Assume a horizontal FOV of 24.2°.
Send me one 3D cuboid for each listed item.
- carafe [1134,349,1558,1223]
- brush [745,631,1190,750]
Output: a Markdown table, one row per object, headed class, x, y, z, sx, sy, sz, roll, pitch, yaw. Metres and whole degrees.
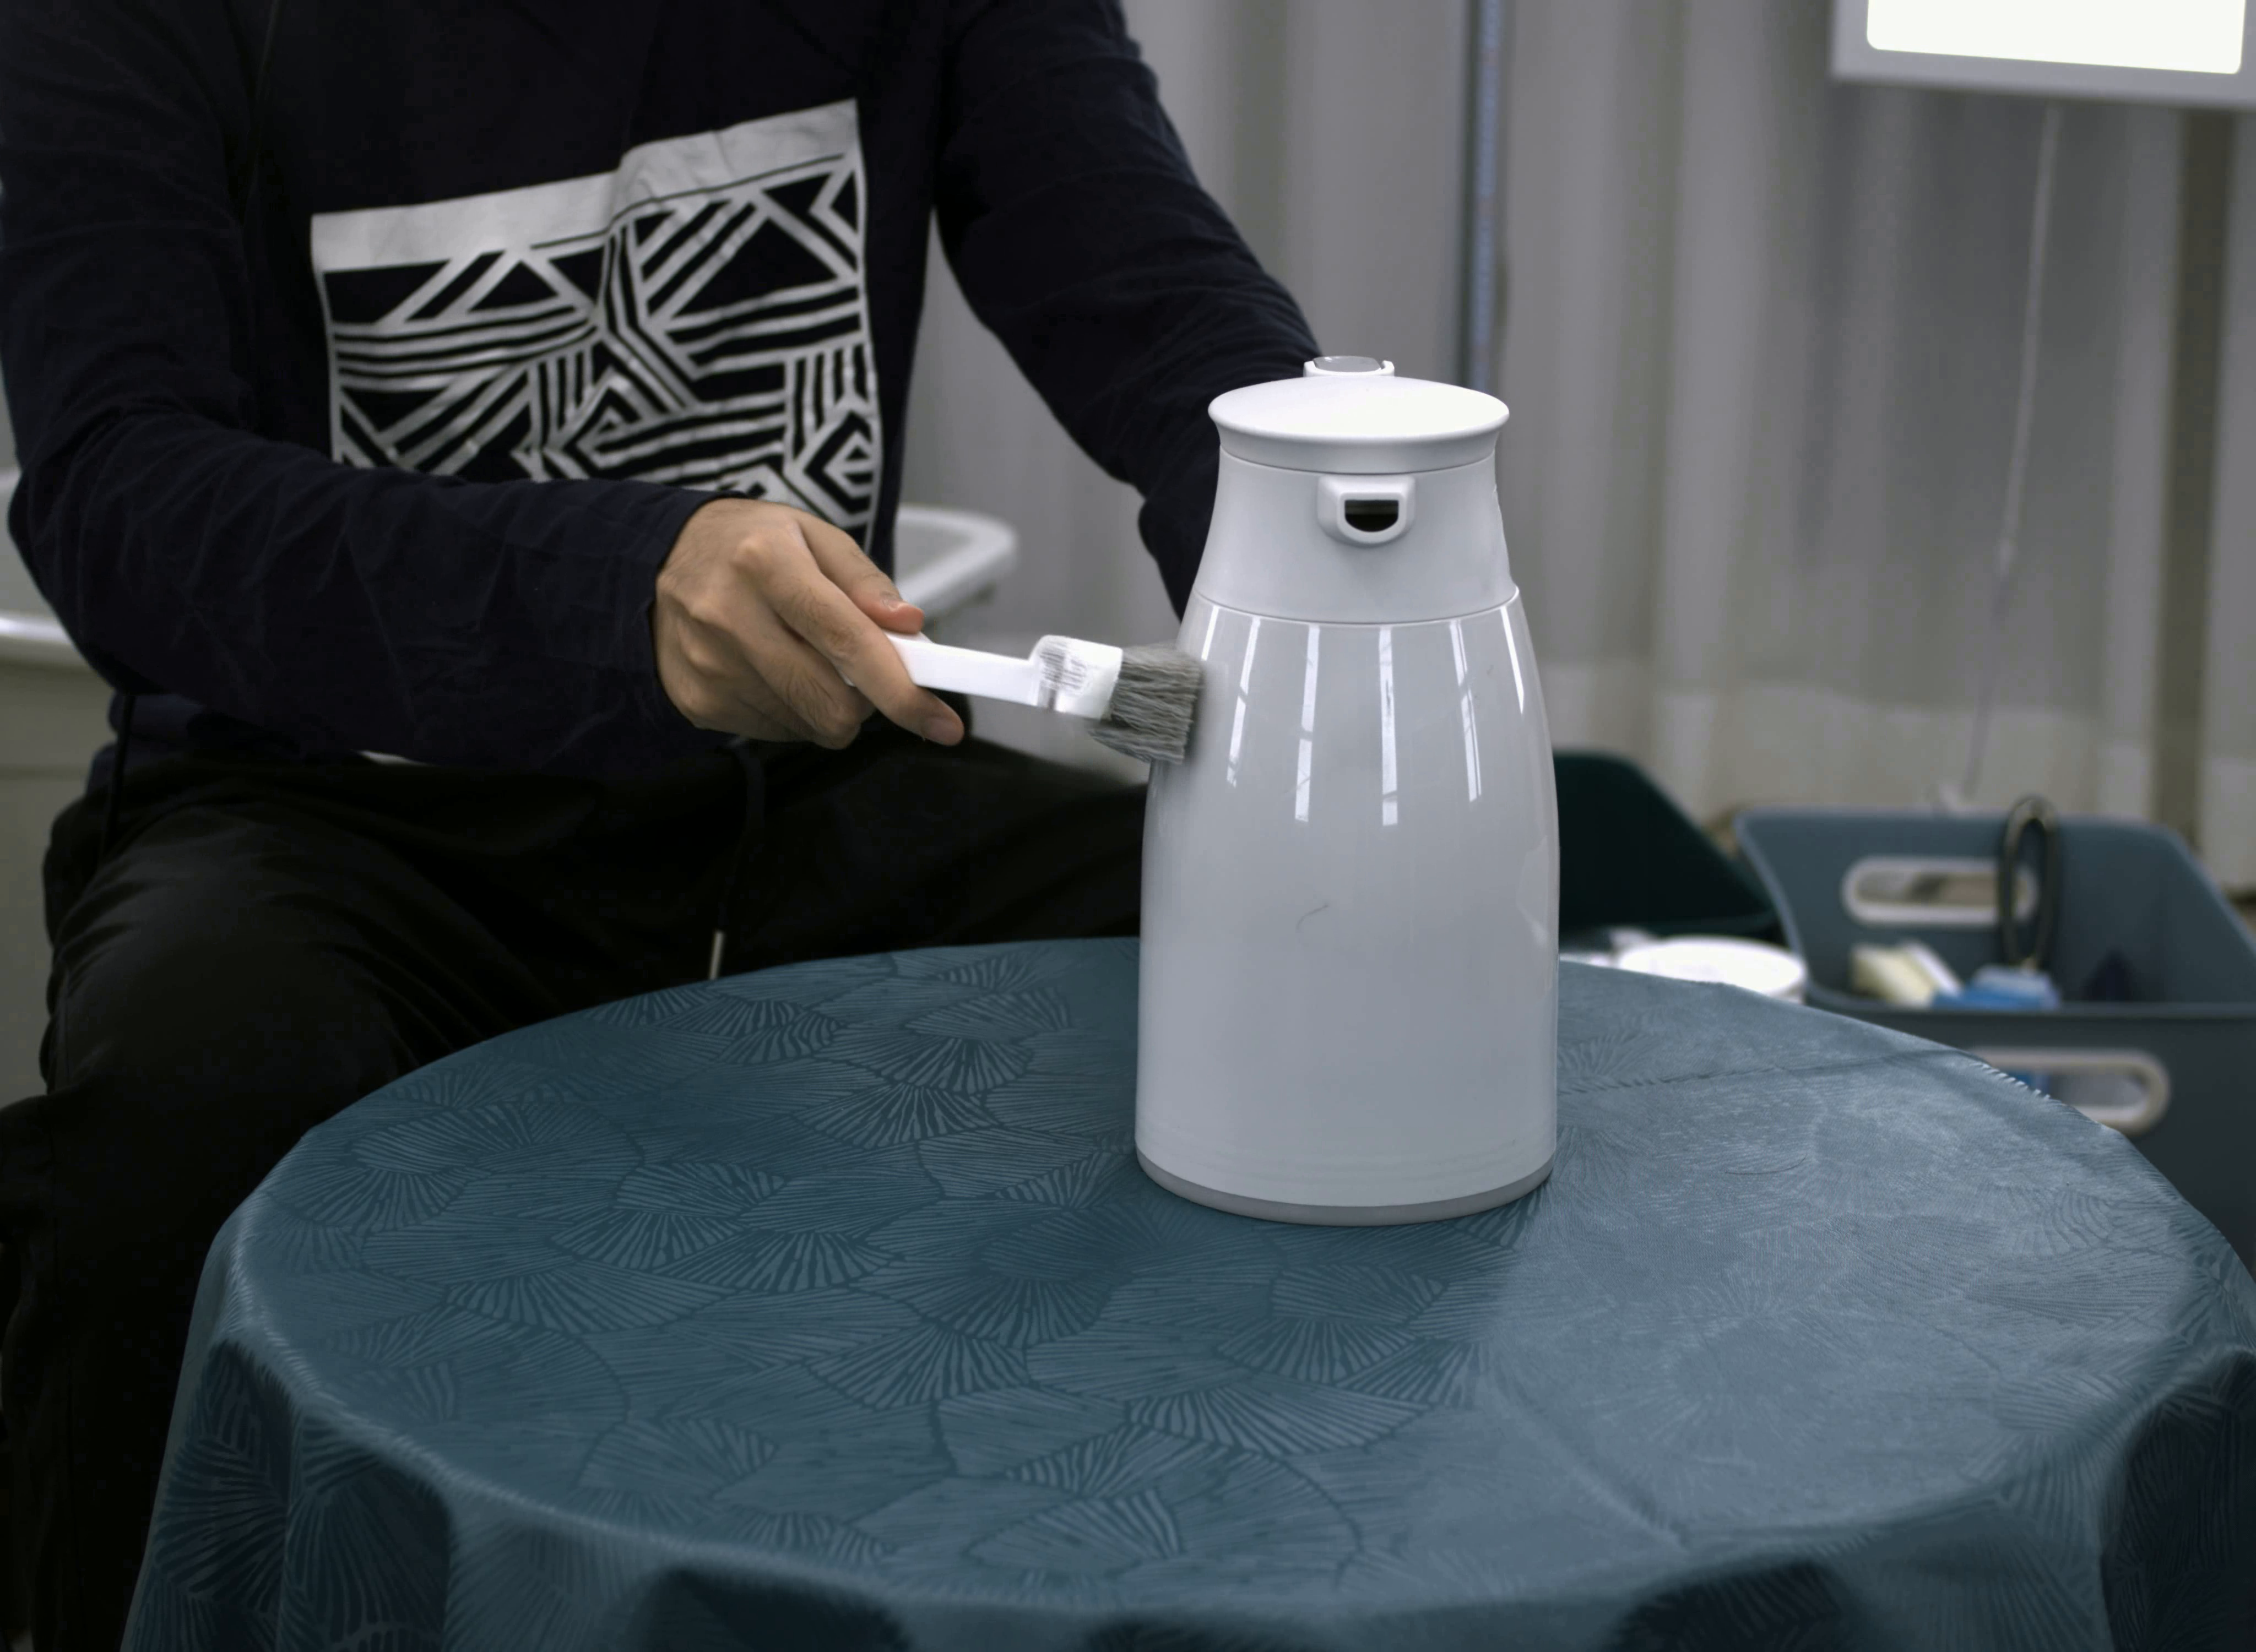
| class | x | y | z | sx | sy | sz | roll | pitch | yaw |
| --- | --- | --- | --- | --- | --- | --- | --- | --- | --- |
| carafe | 0.066 | -0.021 | 1.641 | 0.132 | 0.250 | 0.166 | -1 | 16 | -5 |
| brush | -0.050 | -0.046 | 1.672 | 0.050 | 0.034 | 0.241 | 3 | 1 | -31 |
